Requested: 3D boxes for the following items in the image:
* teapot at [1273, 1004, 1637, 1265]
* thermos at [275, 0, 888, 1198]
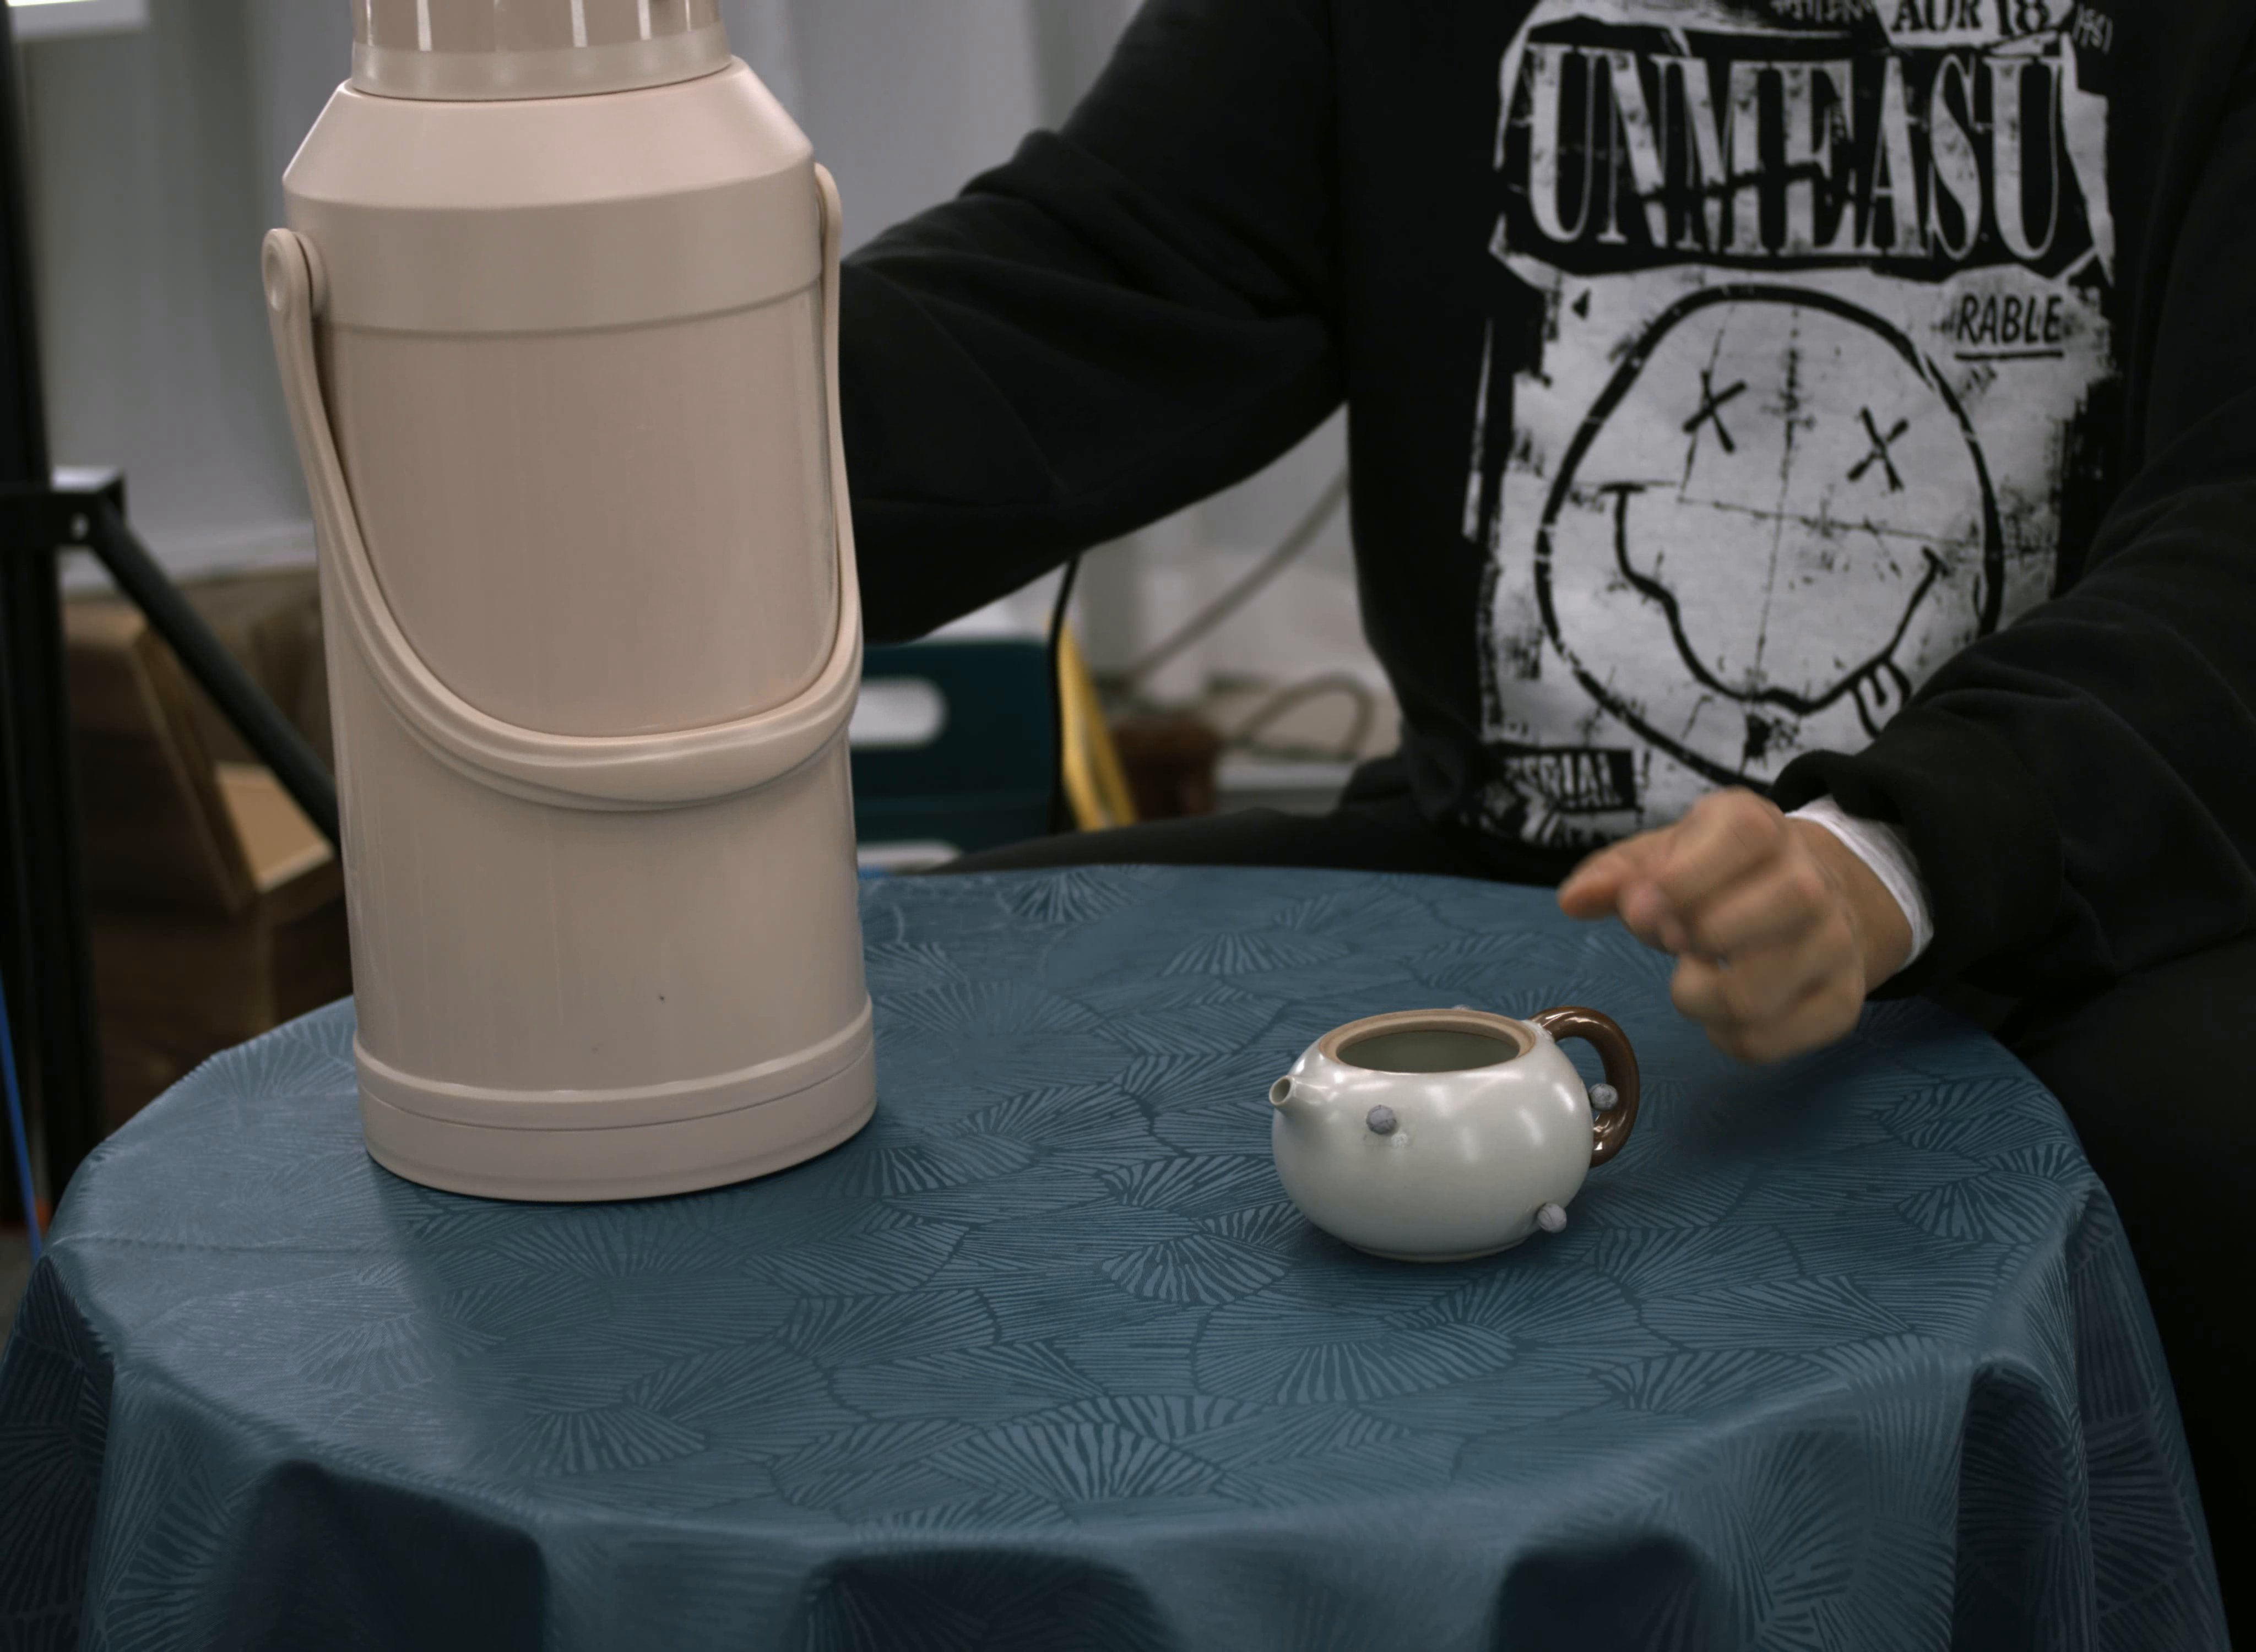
[{"bbox_3d":[0.095,0.086,1.507,0.125,0.059,0.094,-13,15,-32],"label":"teapot"},{"bbox_3d":[-0.167,-0.105,1.608,0.171,0.406,0.211,-12,17,-27],"label":"thermos"}]
